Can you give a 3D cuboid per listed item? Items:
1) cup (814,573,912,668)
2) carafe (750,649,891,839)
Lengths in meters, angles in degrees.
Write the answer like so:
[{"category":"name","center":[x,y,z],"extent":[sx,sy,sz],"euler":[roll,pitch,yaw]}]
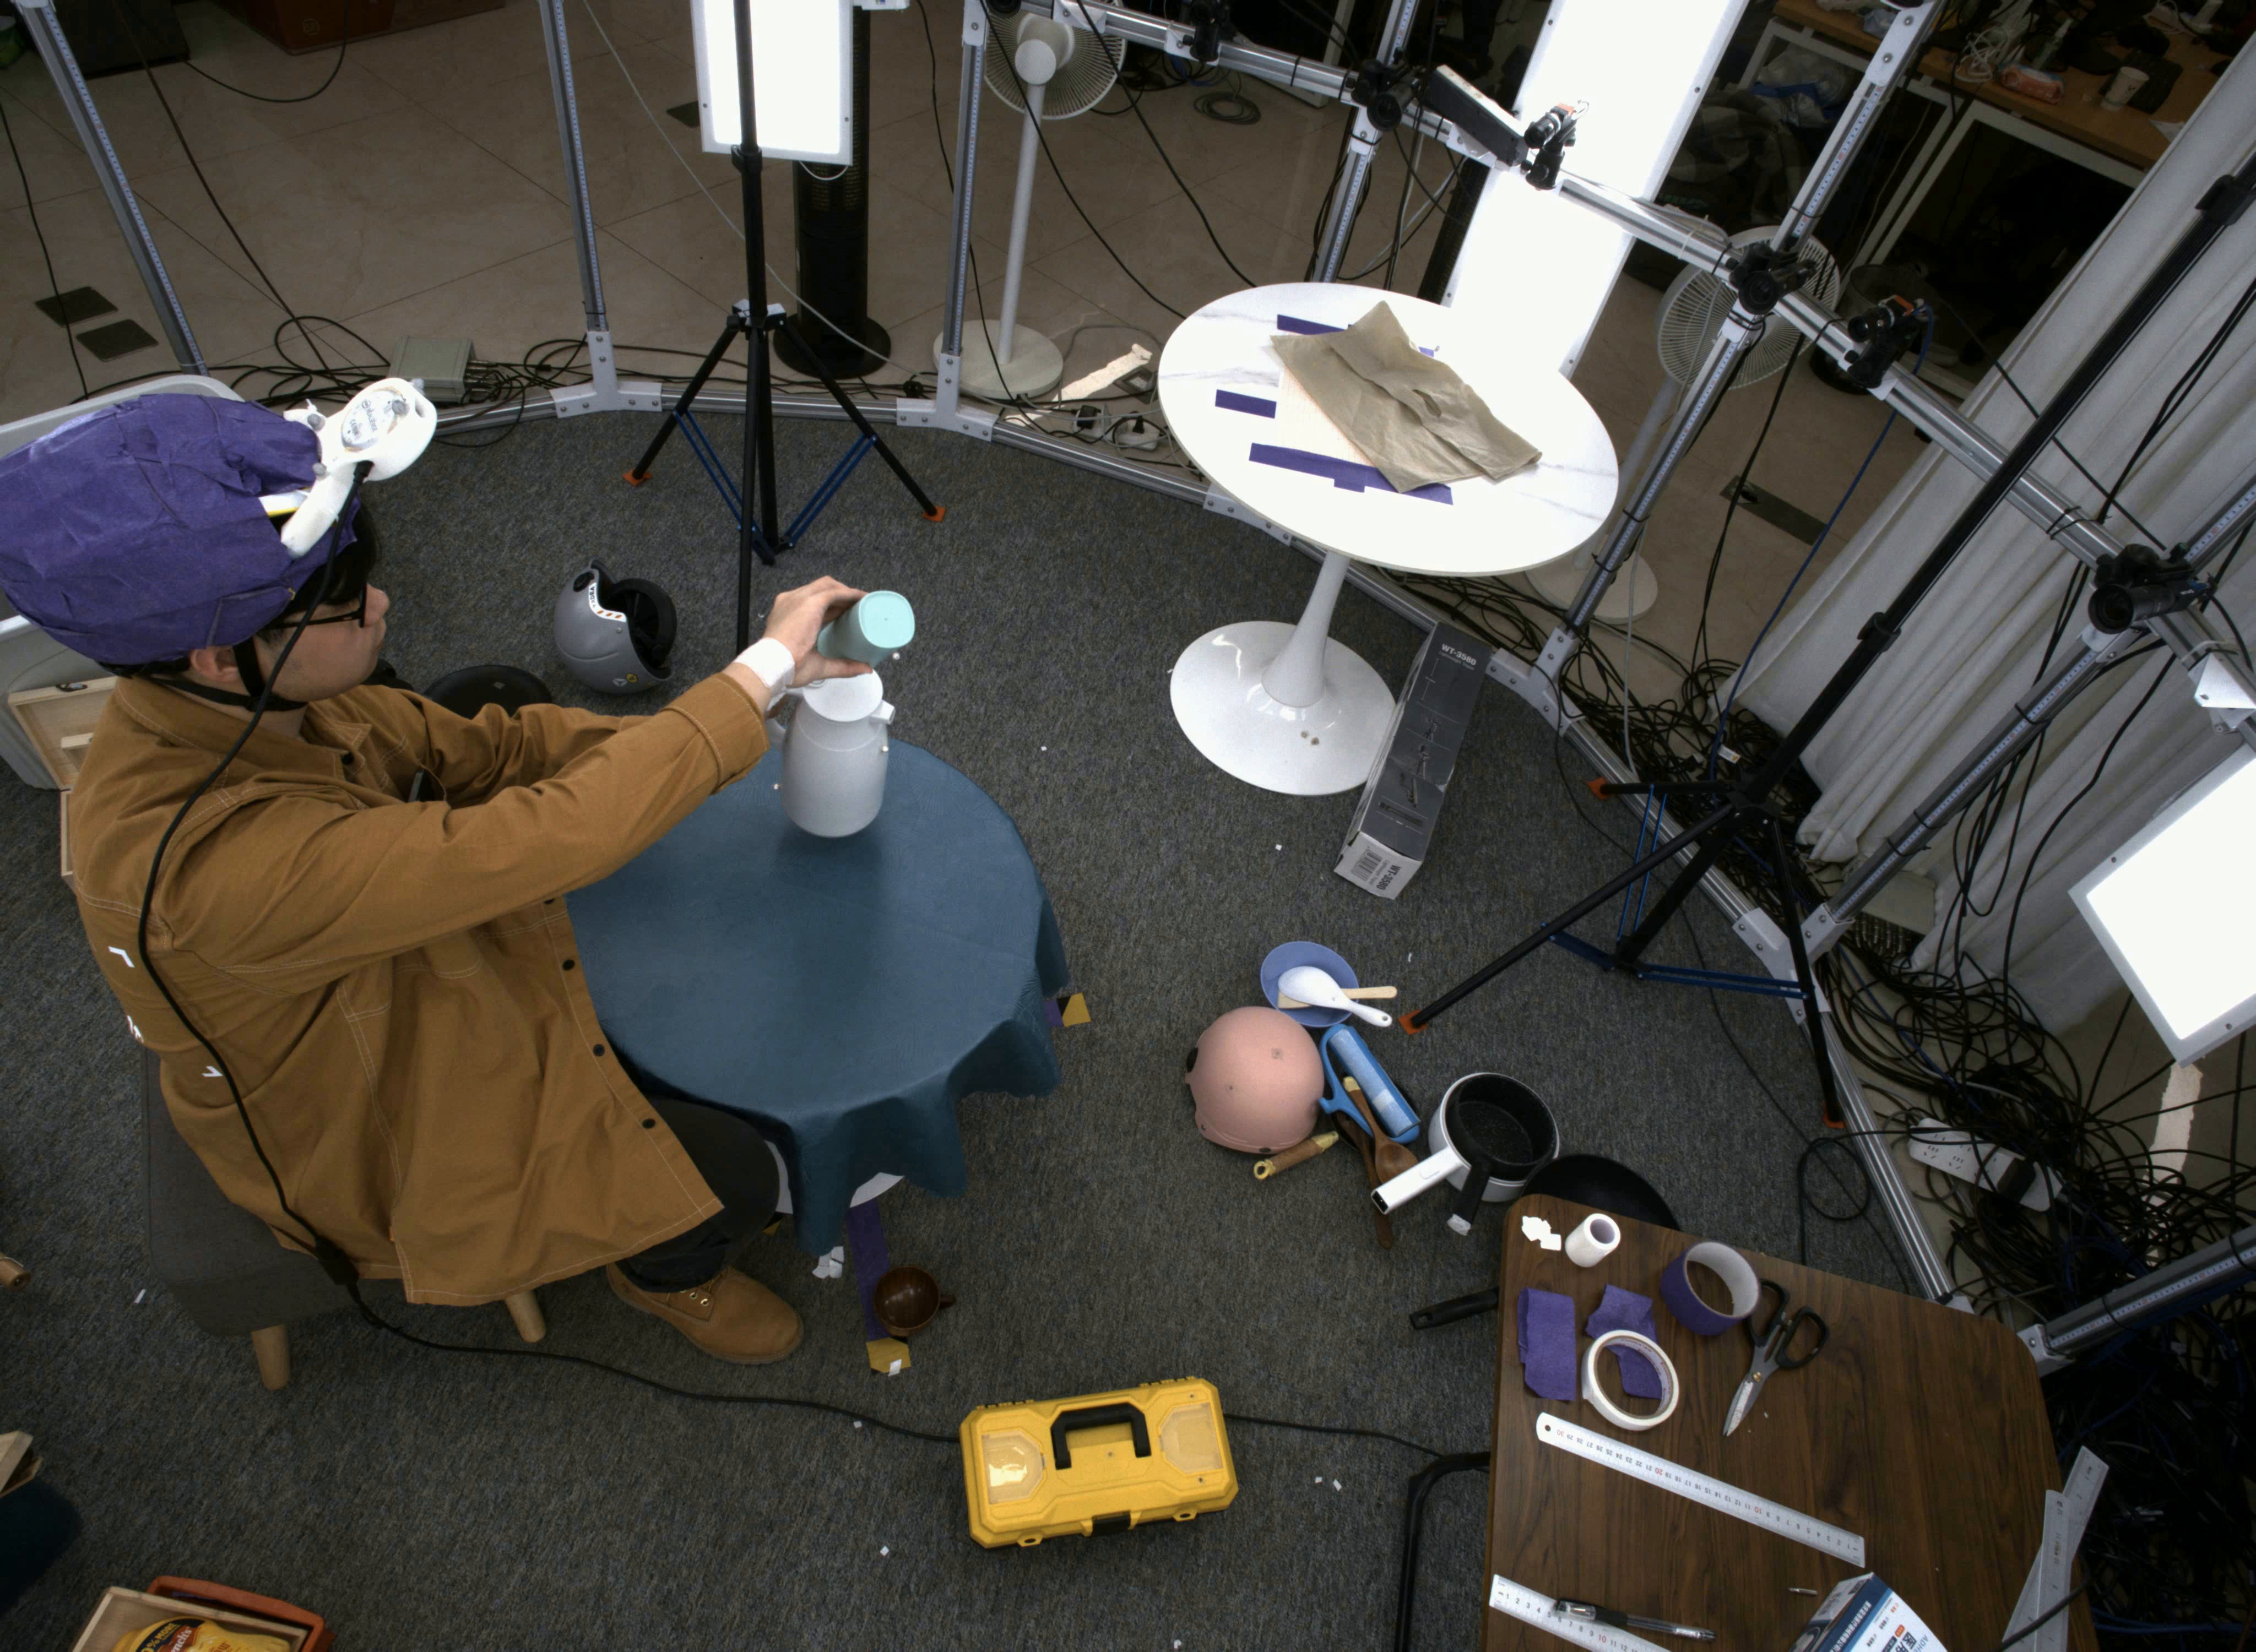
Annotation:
[{"category":"cup","center":[-0.282,-0.214,1.363],"extent":[0.068,0.129,0.067],"euler":[6,78,-31]},{"category":"carafe","center":[-0.375,-0.111,1.567],"extent":[0.167,0.252,0.131],"euler":[19,56,-4]}]
